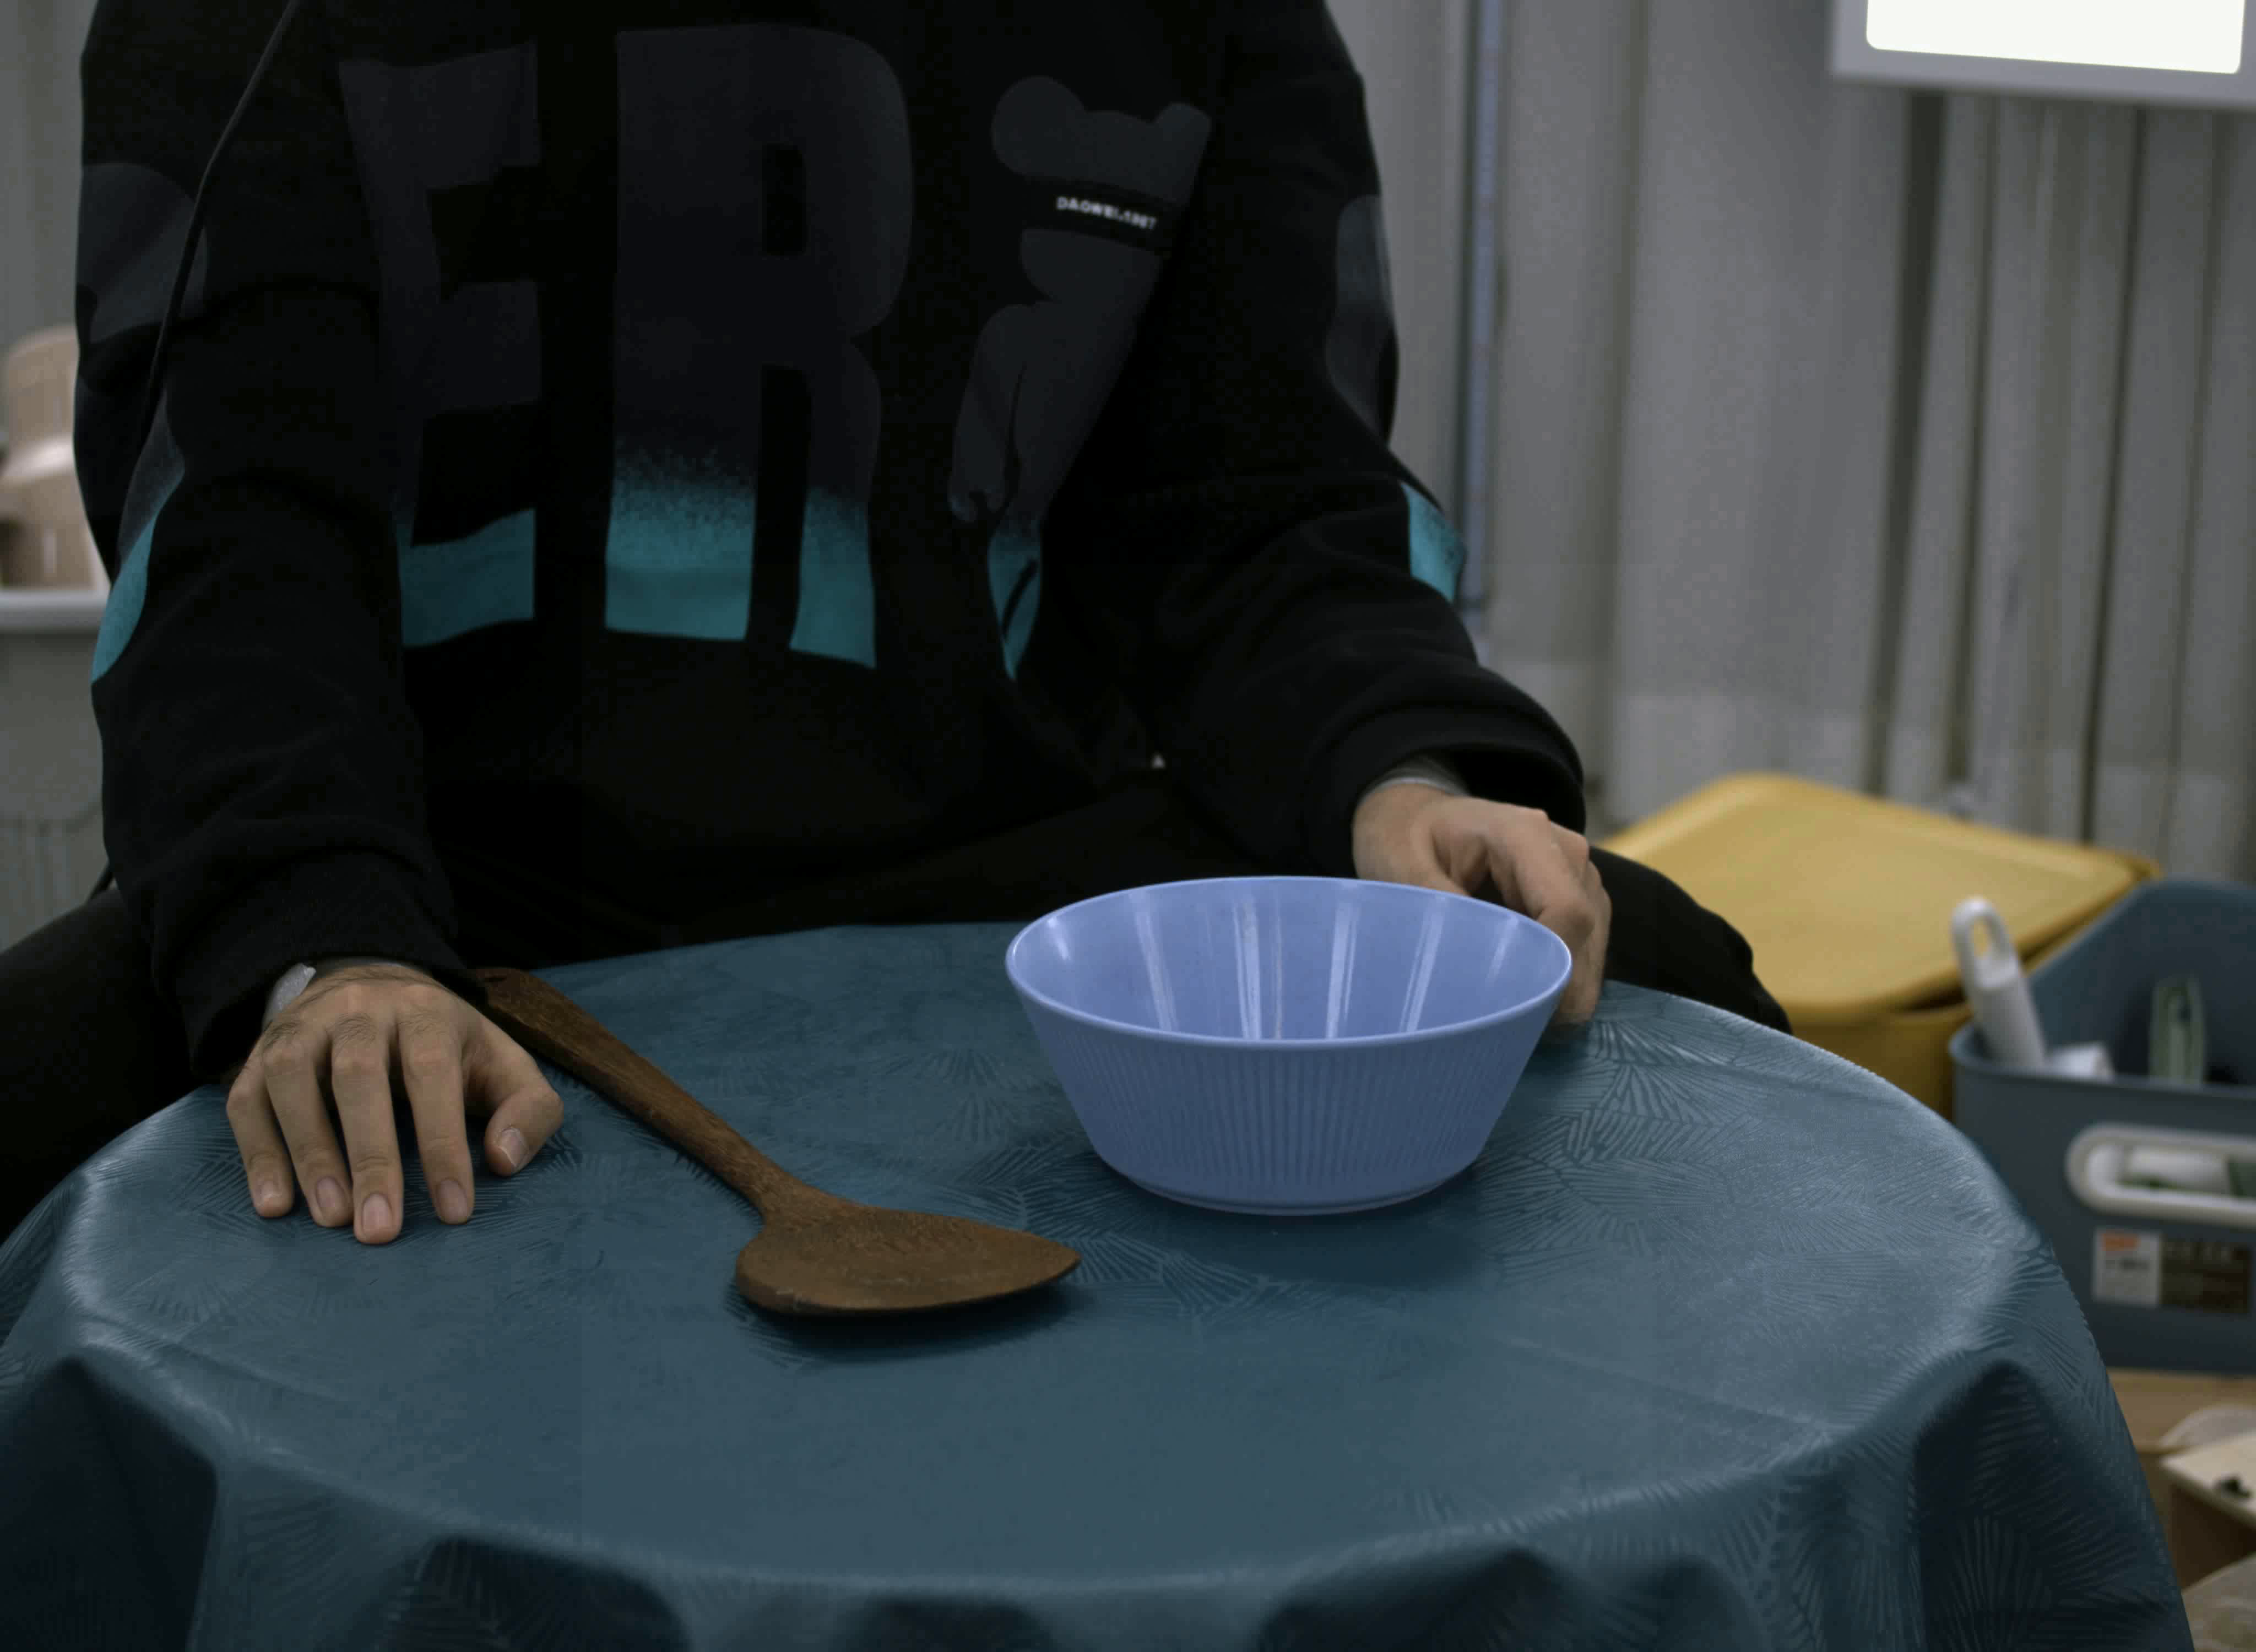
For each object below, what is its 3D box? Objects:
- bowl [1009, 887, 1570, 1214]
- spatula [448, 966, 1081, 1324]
[{"bbox_3d":[0.050,0.072,1.644,0.175,0.071,0.175,0,15,0],"label":"bowl"},{"bbox_3d":[-0.137,0.095,1.659,0.096,0.016,0.381,-7,18,-28],"label":"spatula"}]
